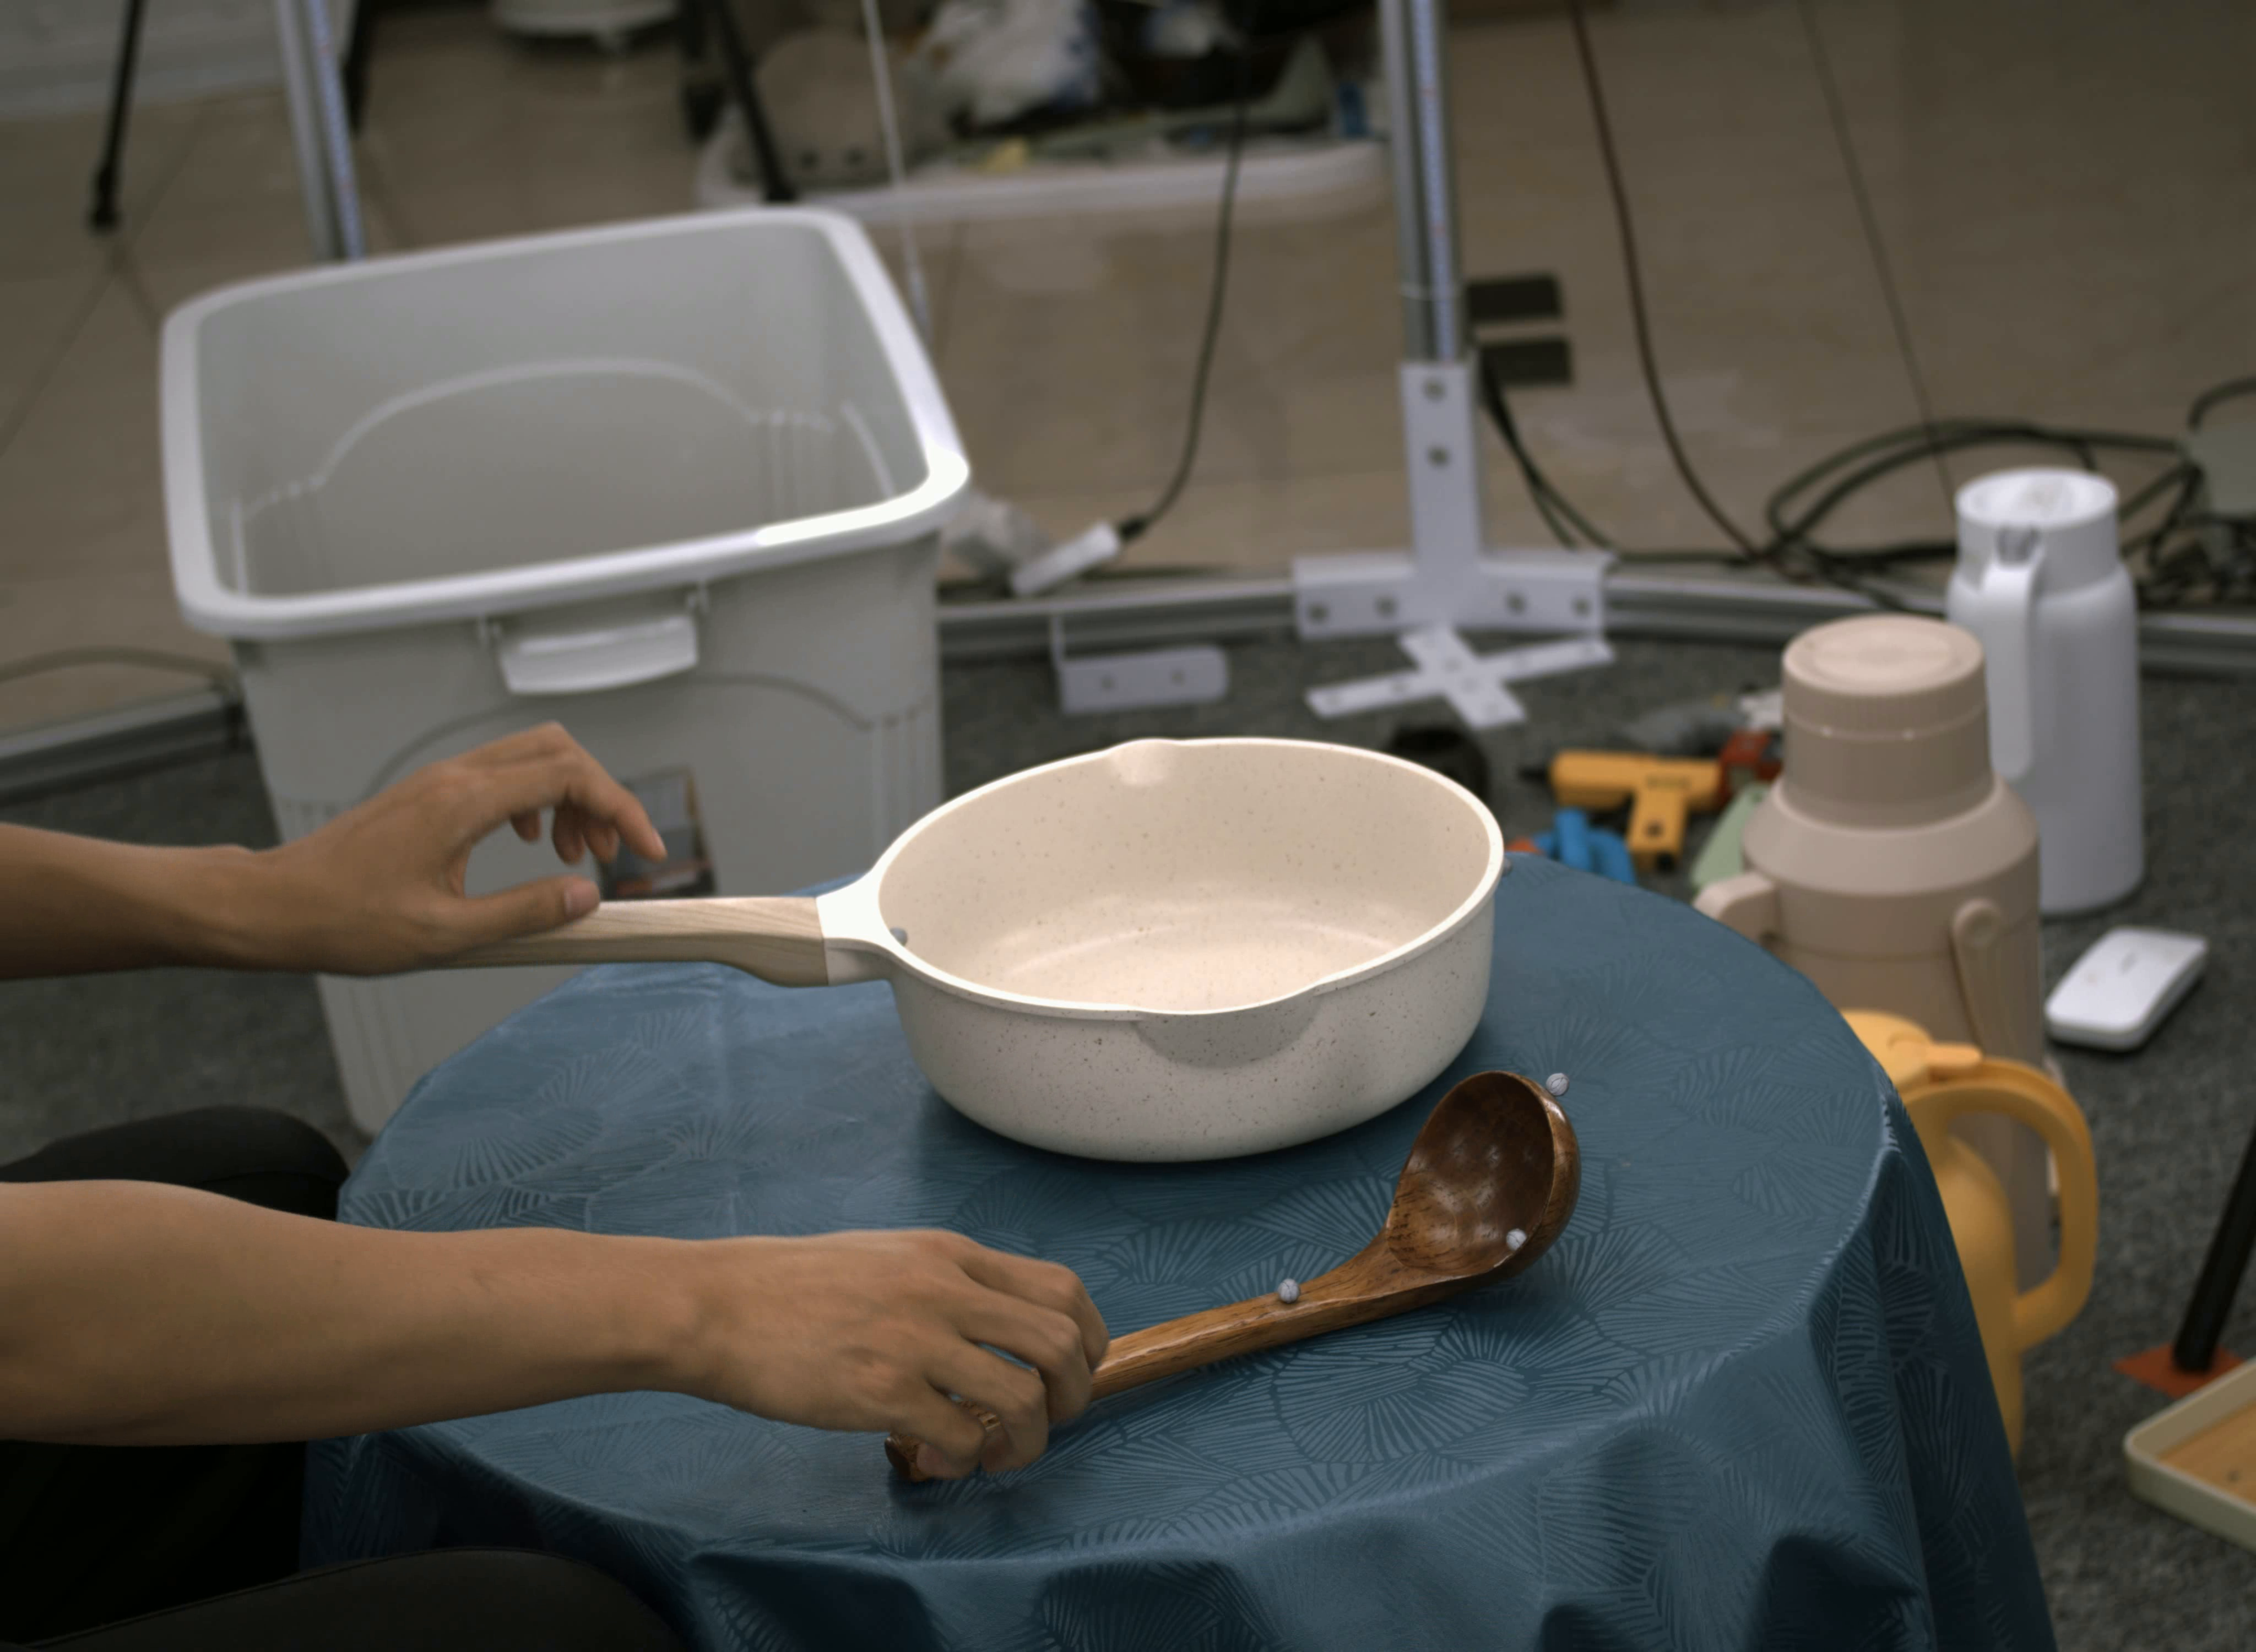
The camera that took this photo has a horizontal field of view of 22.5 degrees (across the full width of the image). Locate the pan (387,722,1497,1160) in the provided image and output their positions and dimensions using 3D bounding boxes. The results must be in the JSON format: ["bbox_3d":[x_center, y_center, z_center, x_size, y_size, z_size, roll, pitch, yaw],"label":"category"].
[{"bbox_3d":[-0.068,0.056,2.229,0.434,0.103,0.259,-8,27,-5],"label":"pan"}]

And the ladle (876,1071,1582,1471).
[{"bbox_3d":[0.037,0.156,2.012,0.273,0.078,0.081,-16,28,-20],"label":"ladle"}]
